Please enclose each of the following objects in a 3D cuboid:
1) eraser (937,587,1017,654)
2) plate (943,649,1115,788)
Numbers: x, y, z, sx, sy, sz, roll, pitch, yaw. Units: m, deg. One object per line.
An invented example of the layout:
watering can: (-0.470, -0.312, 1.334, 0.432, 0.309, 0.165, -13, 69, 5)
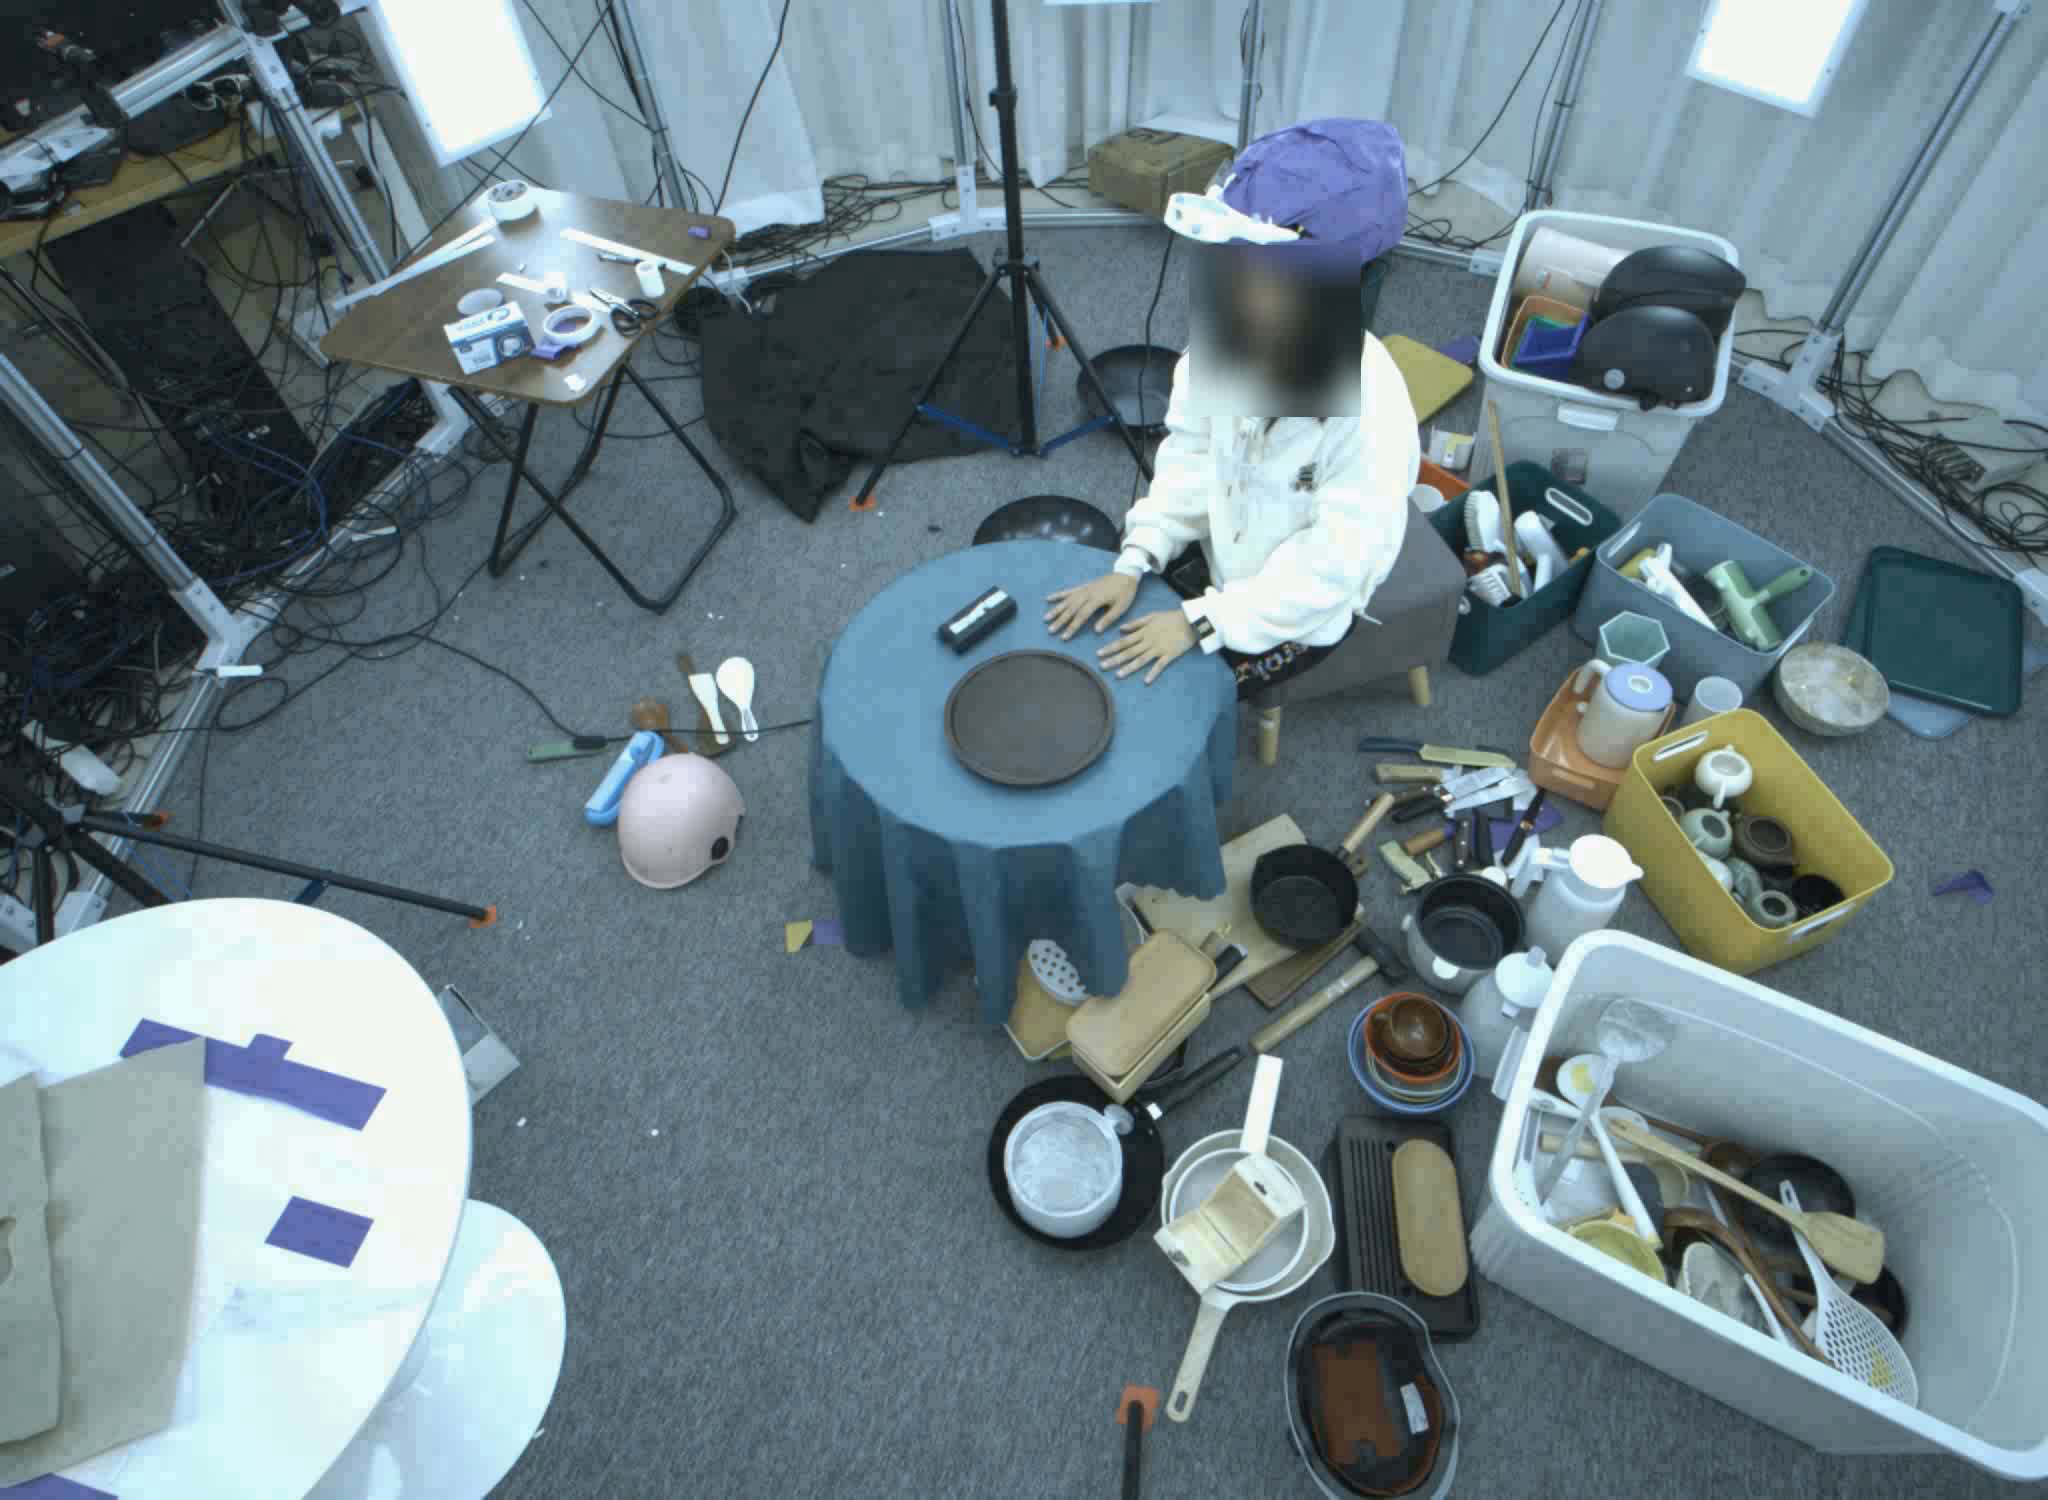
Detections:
eraser: (-0.074, -0.203, 1.918, 0.126, 0.031, 0.052, -39, 64, -24)
plate: (0.007, -0.048, 1.807, 0.254, 0.029, 0.252, -1, 56, 3)
